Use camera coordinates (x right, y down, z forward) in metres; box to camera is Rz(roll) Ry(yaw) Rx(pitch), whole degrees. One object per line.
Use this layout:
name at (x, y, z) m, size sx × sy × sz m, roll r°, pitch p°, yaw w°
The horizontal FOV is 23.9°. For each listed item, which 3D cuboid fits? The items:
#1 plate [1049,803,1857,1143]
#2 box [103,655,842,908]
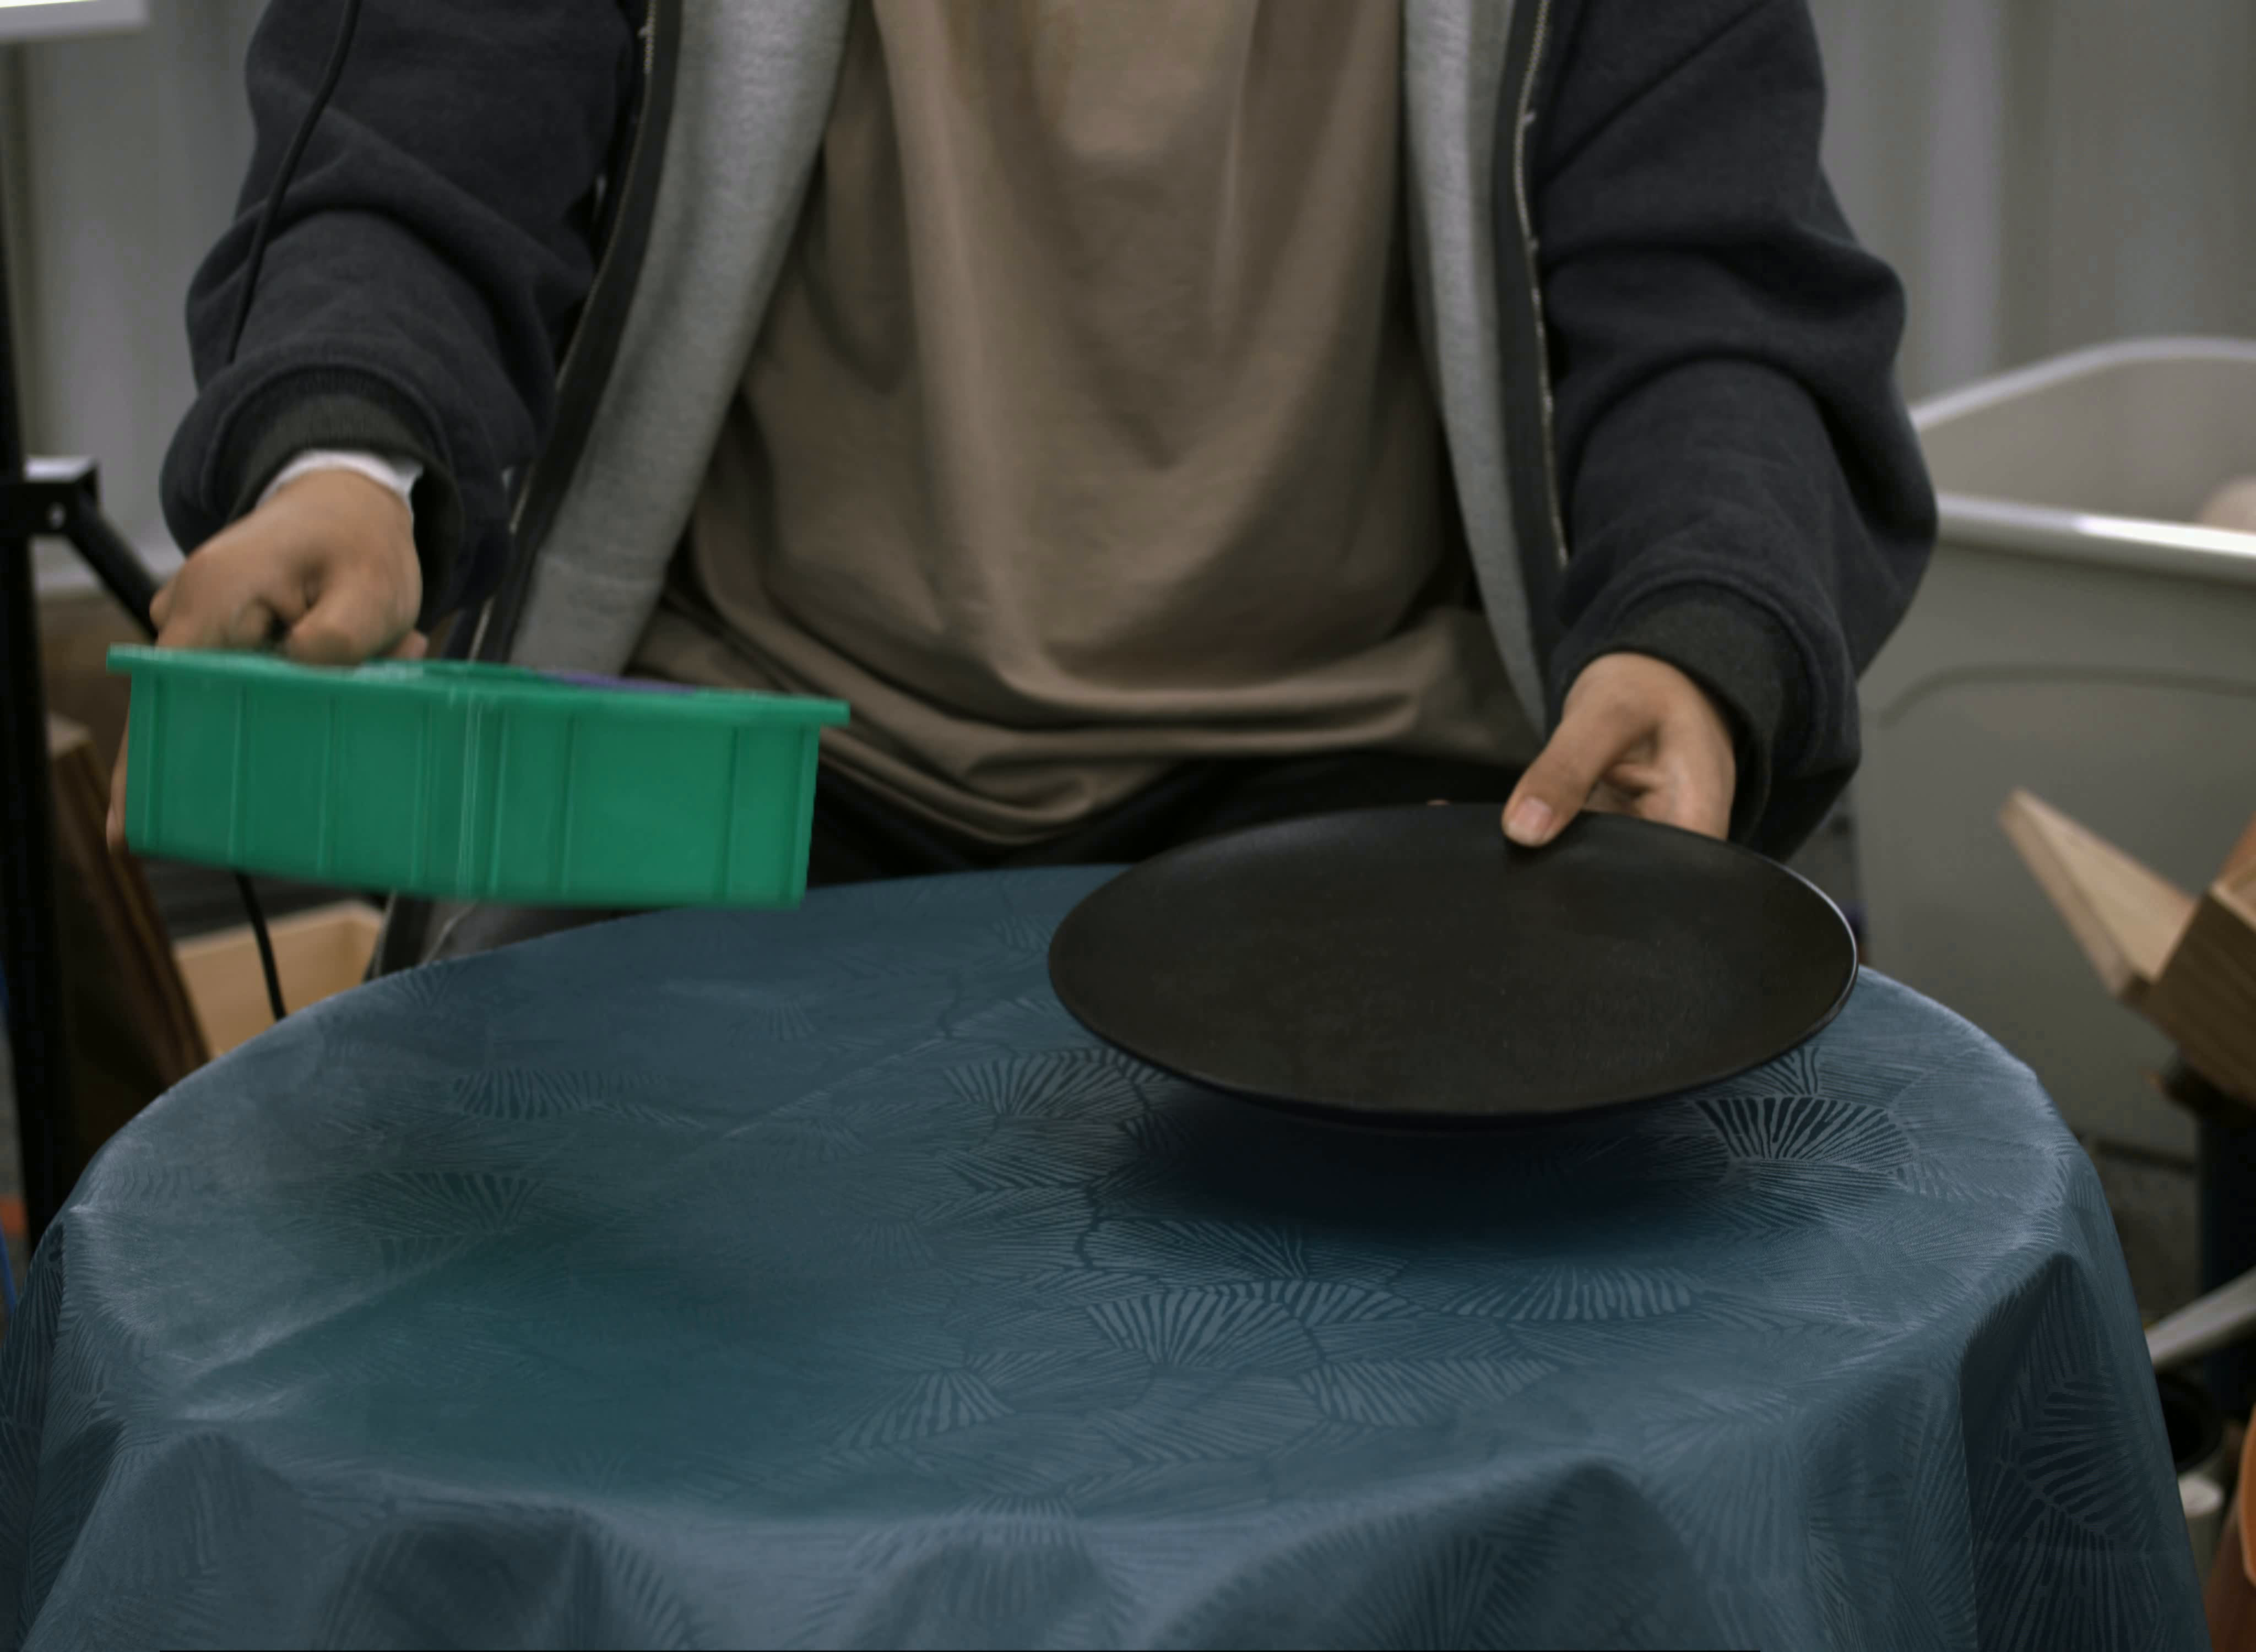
plate at (0.097, 0.048, 1.601) m, size 0.243 × 0.023 × 0.246 m, roll -3°, pitch 21°, yaw 0°
box at (-0.195, -0.013, 1.561) m, size 0.135 × 0.065 × 0.215 m, roll 4°, pitch 0°, yaw -40°
